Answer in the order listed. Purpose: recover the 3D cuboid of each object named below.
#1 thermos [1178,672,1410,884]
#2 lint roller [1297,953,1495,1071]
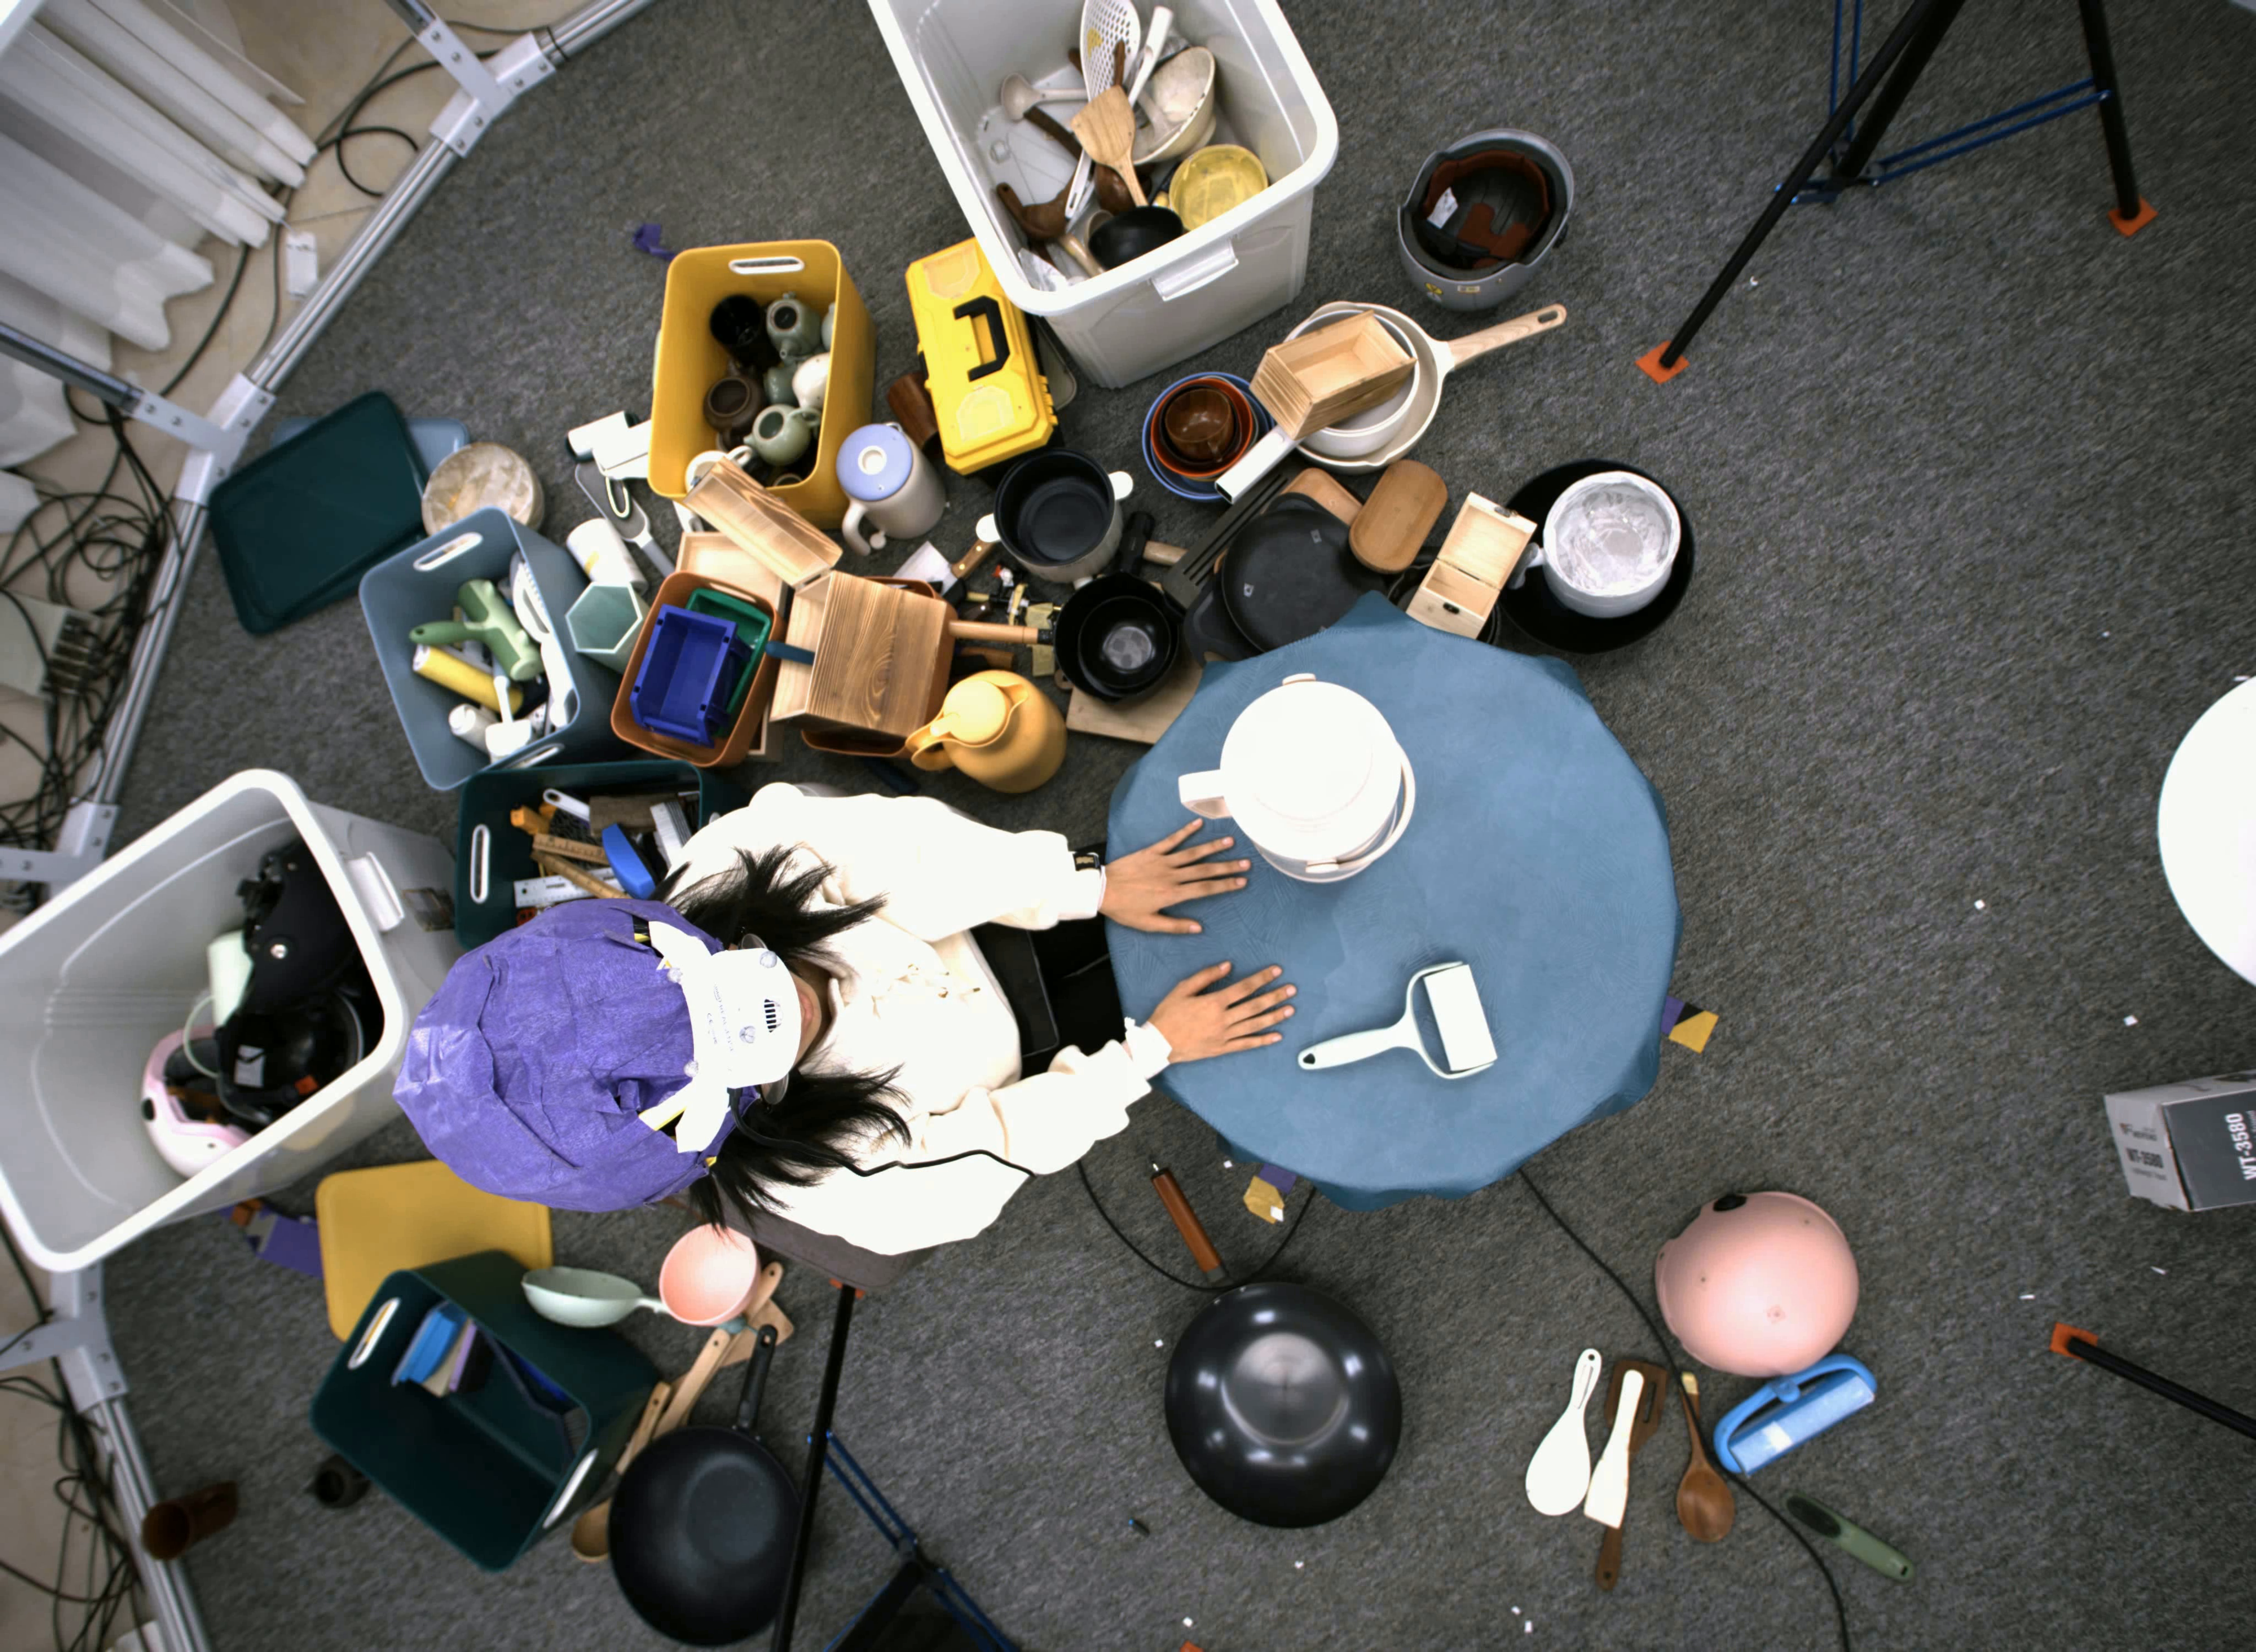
[{"bbox_3d":[0.160,-0.039,1.286,0.208,0.406,0.174,-7,84,9],"label":"thermos"},{"bbox_3d":[0.269,0.208,1.429,0.198,0.048,0.116,-17,86,8],"label":"lint roller"}]
